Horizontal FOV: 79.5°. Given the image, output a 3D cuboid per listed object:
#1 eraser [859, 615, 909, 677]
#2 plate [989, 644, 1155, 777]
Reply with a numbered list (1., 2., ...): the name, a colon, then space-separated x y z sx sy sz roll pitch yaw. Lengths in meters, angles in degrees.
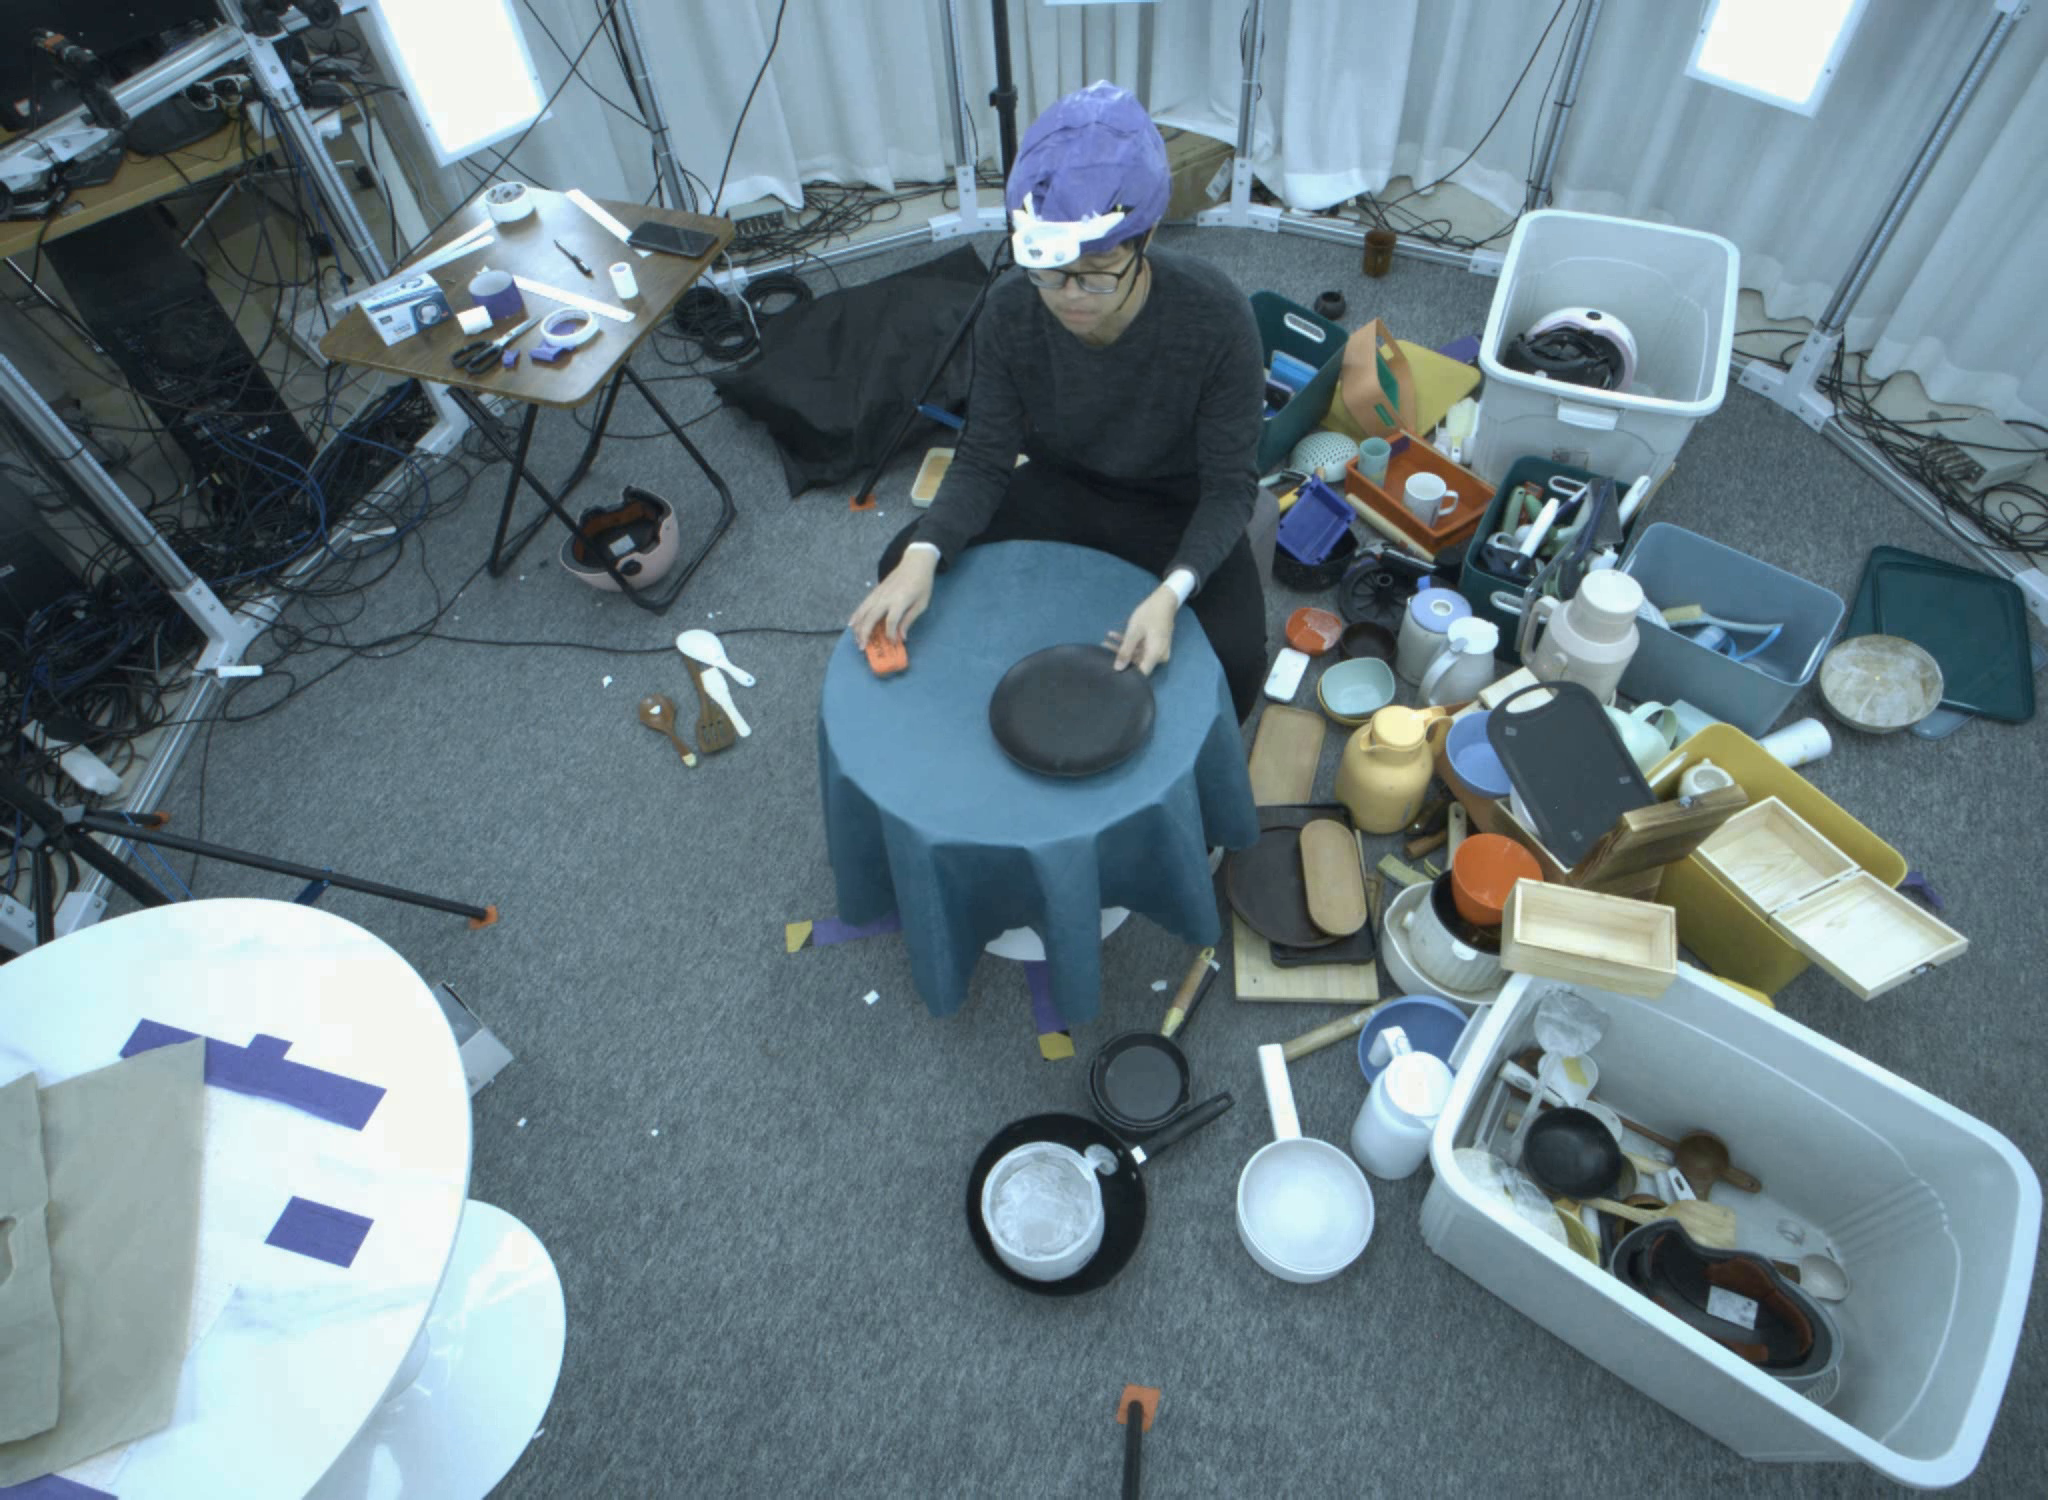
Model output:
1. eraser: -0.217 -0.162 1.892 0.059 0.023 0.106 -12 53 -14
2. plate: 0.071 -0.057 1.807 0.244 0.024 0.242 -2 55 4
